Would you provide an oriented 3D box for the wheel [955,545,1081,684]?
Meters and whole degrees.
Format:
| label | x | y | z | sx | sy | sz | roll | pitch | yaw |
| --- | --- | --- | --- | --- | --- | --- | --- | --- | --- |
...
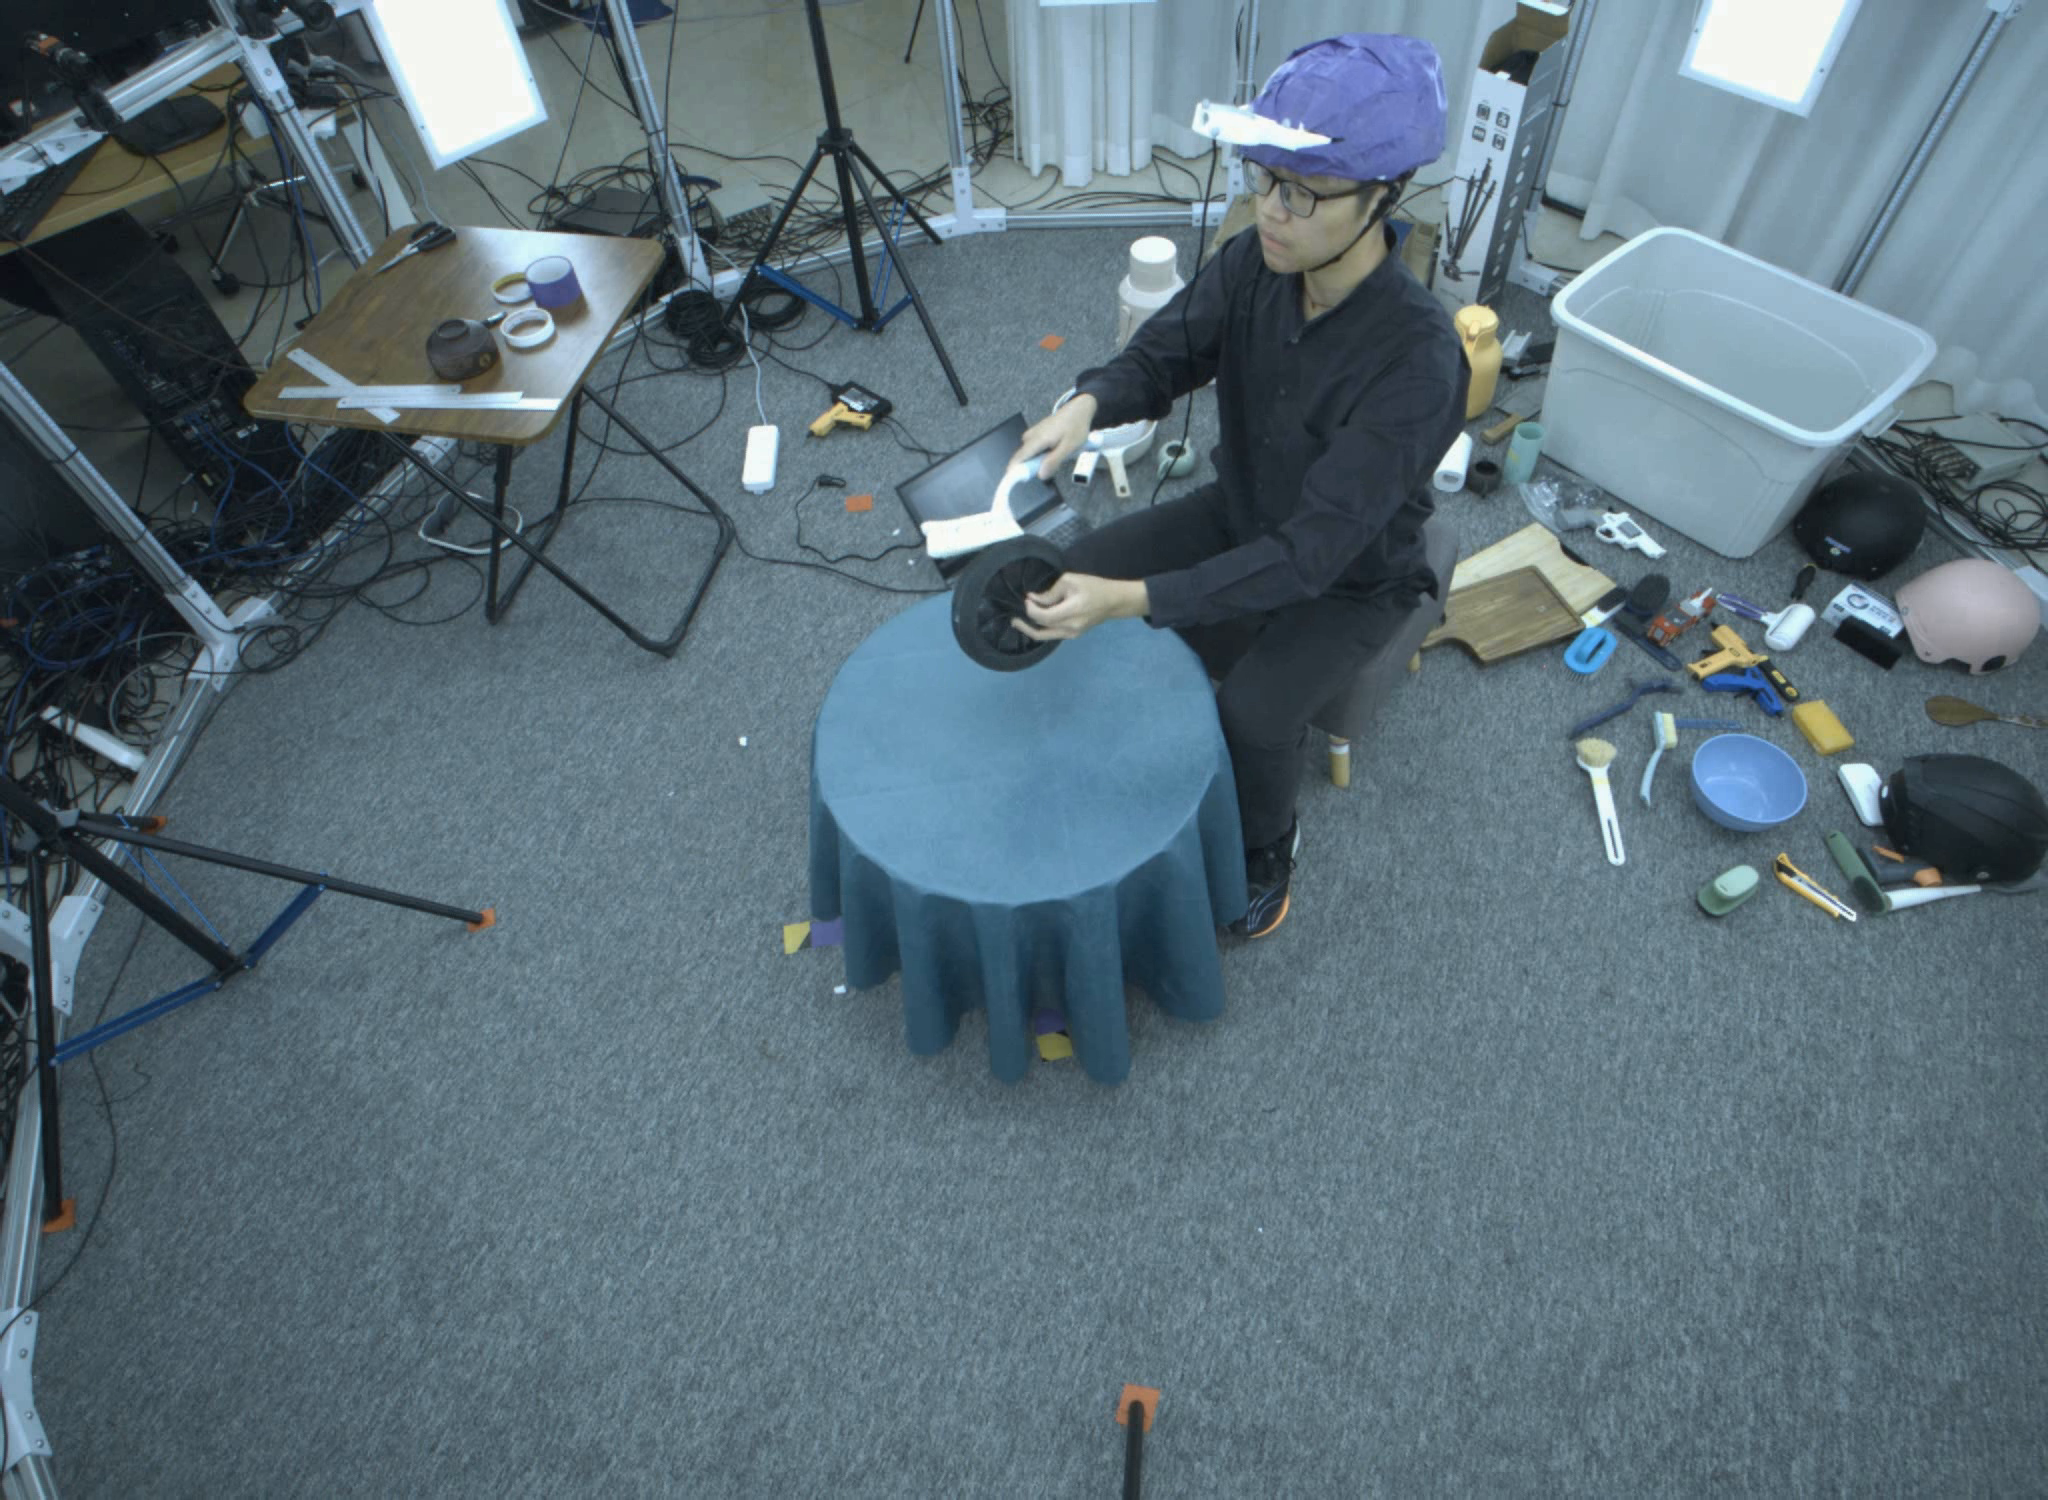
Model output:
| label | x | y | z | sx | sy | sz | roll | pitch | yaw |
| --- | --- | --- | --- | --- | --- | --- | --- | --- | --- |
| wheel | 0.005 | -0.171 | 1.617 | 0.190 | 0.191 | 0.077 | -41 | 40 | -13 |

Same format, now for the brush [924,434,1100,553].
| label | x | y | z | sx | sy | sz | roll | pitch | yaw |
| --- | --- | --- | --- | --- | --- | --- | --- | --- | --- |
| brush | 0.004 | -0.330 | 1.628 | 0.081 | 0.085 | 0.329 | 31 | 50 | 33 |
